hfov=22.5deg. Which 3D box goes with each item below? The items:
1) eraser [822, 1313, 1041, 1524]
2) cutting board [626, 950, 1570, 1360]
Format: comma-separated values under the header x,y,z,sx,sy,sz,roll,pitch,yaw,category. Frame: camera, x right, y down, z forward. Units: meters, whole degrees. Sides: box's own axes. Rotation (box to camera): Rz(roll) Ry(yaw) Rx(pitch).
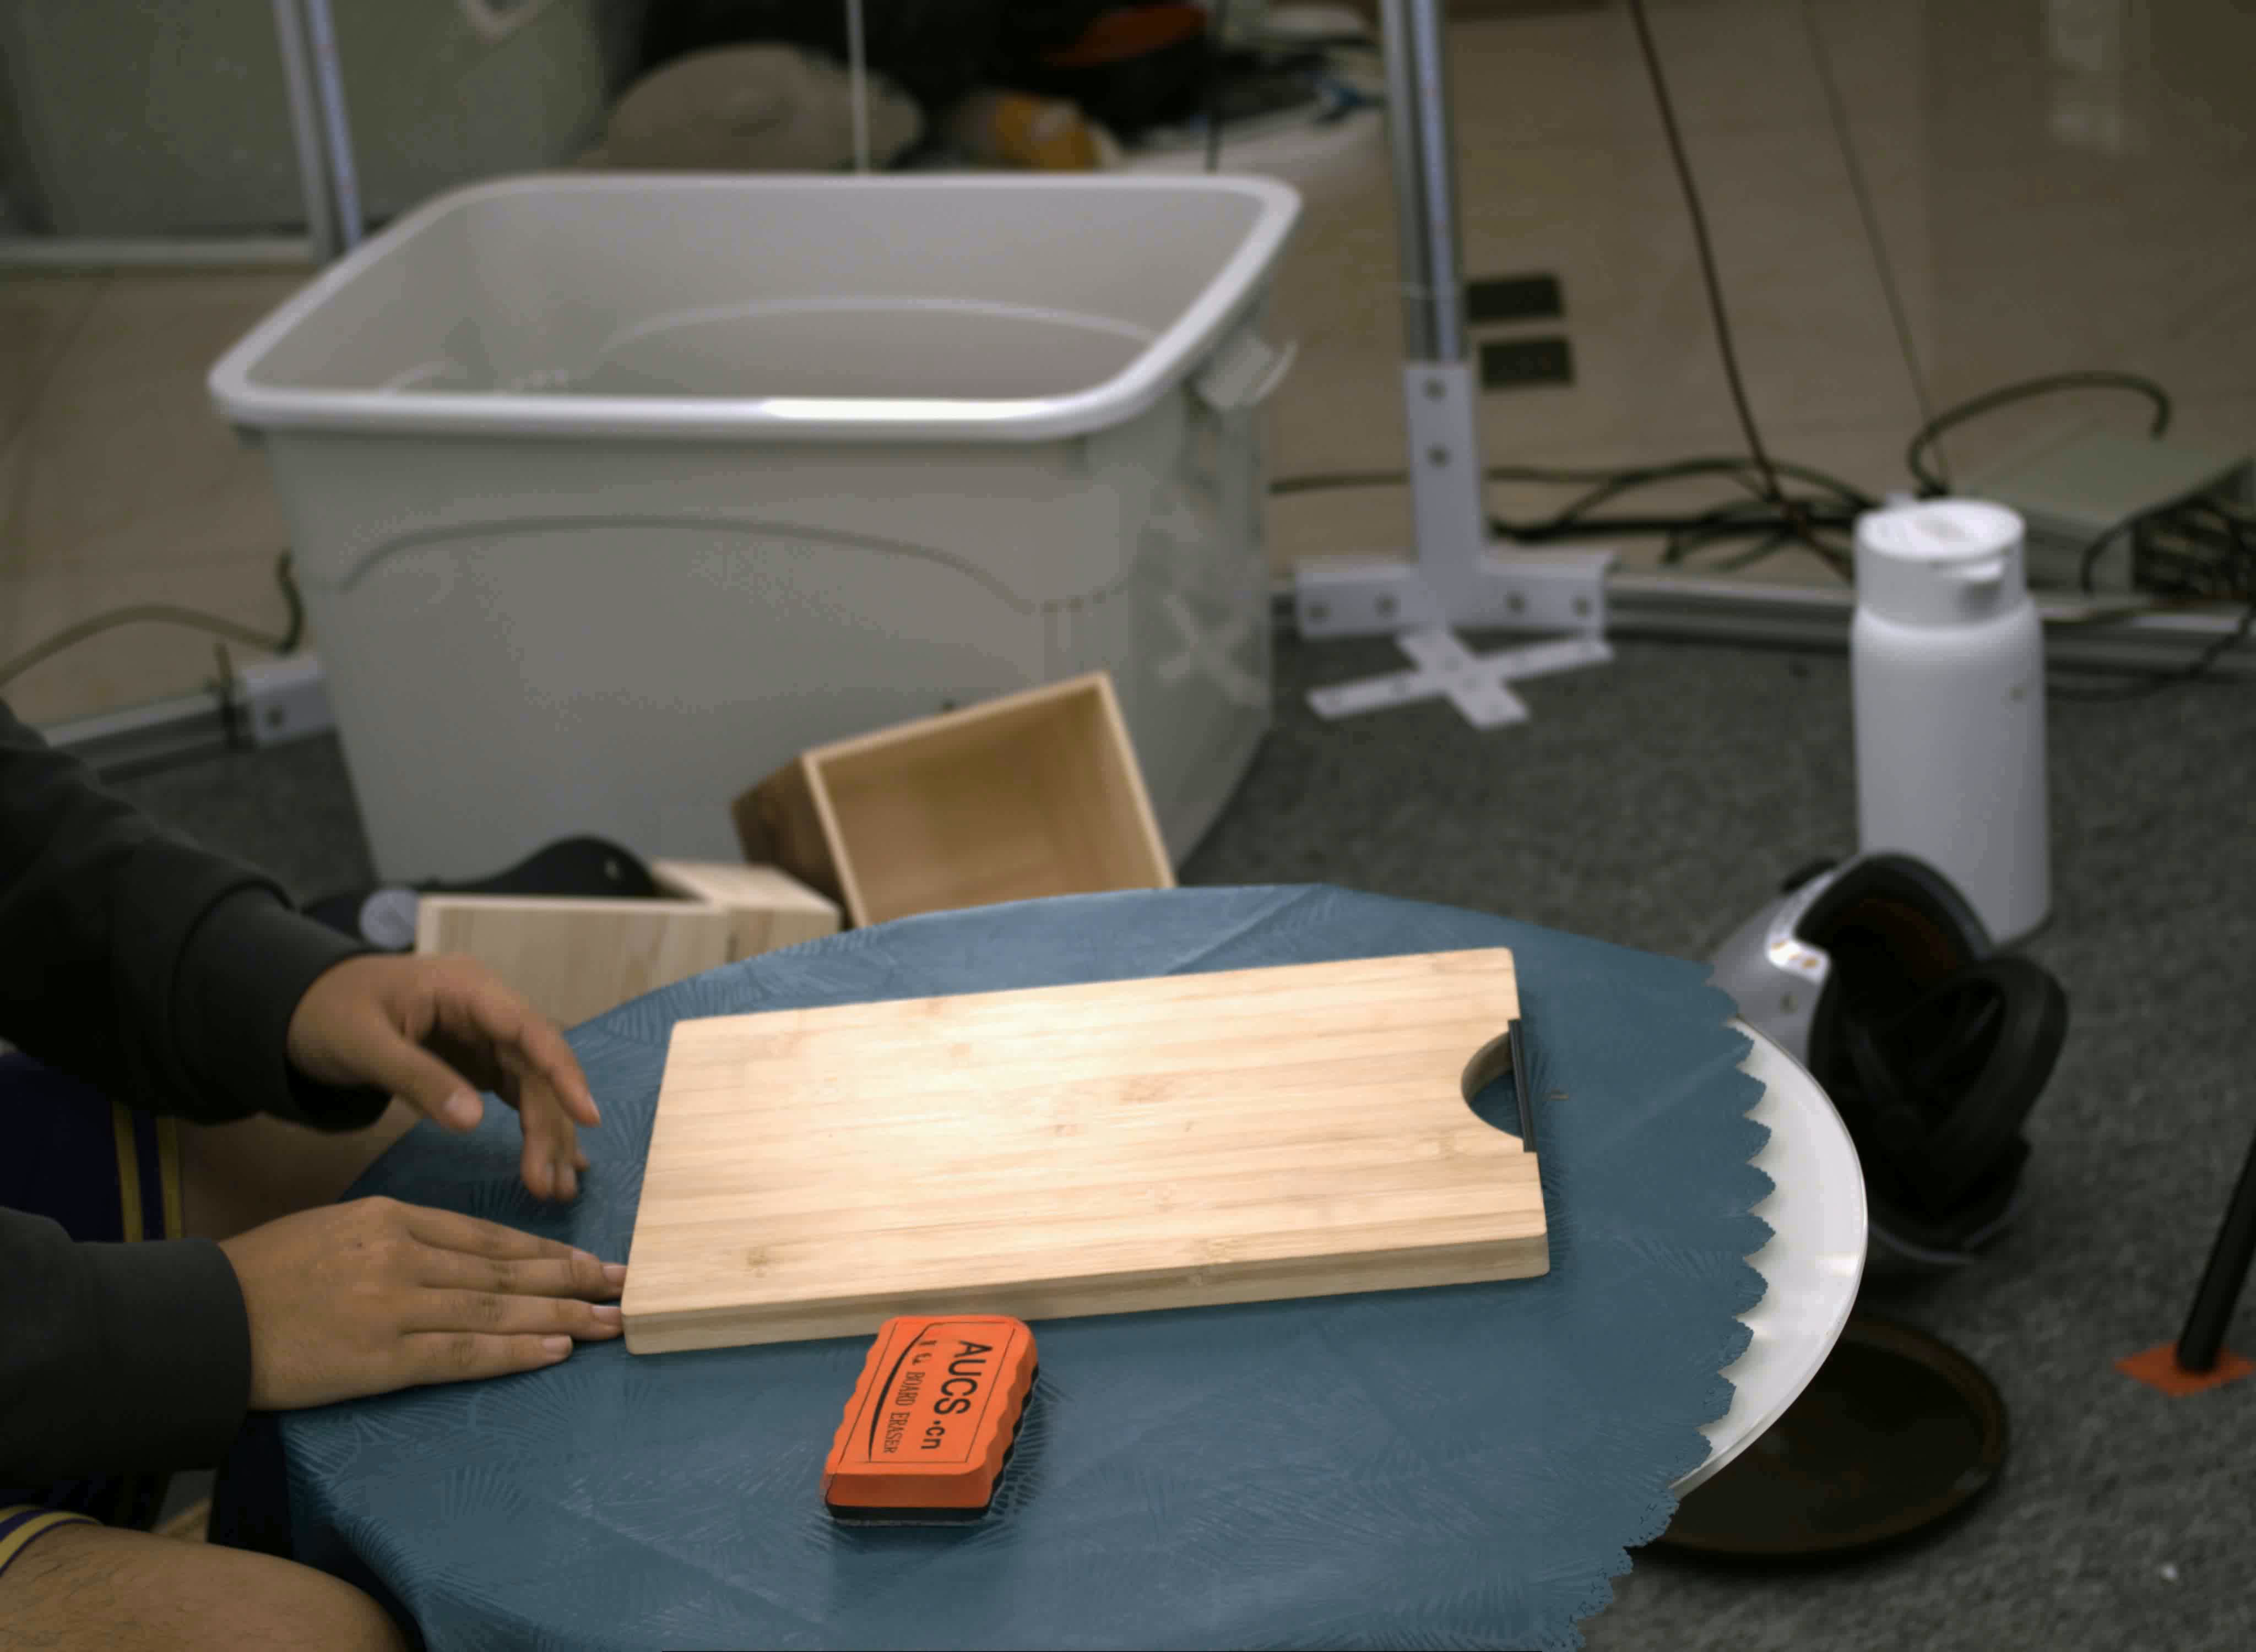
x,y,z,sx,sy,sz,roll,pitch,yaw,category
-0.068,0.207,1.989,0.059,0.023,0.106,0,25,12,eraser
-0.010,0.121,2.168,0.348,0.024,0.247,-5,25,2,cutting board
